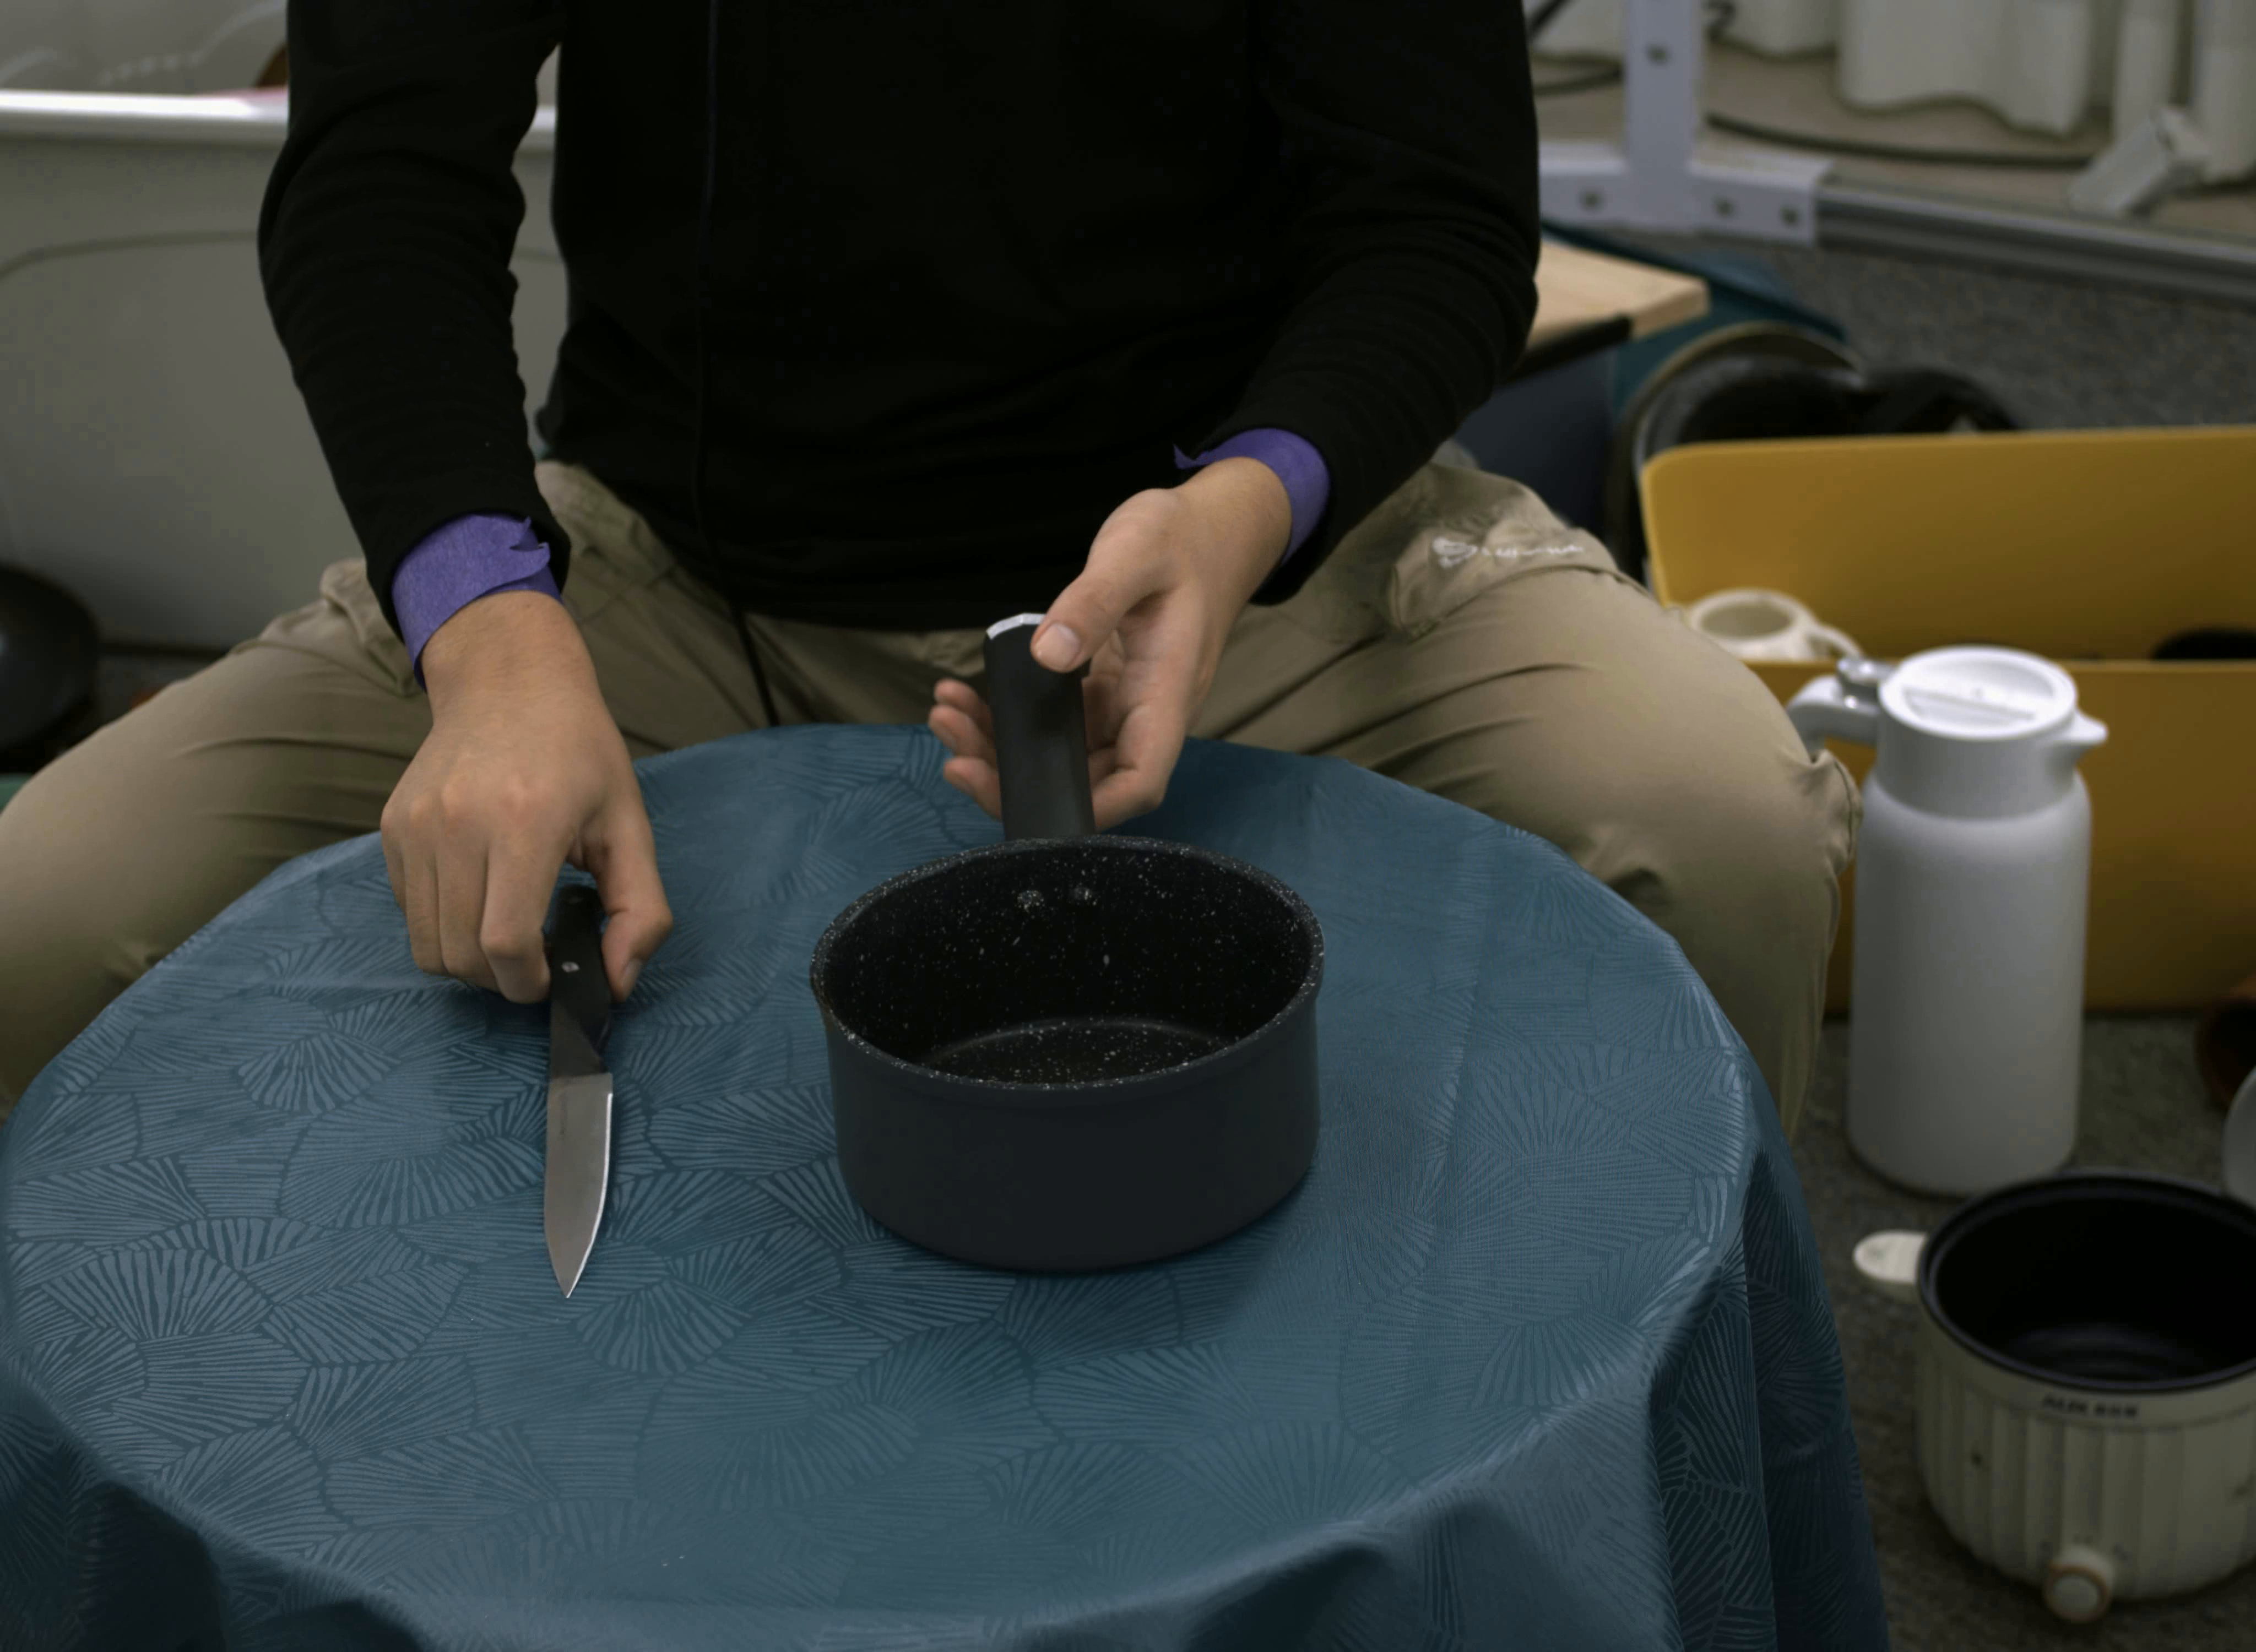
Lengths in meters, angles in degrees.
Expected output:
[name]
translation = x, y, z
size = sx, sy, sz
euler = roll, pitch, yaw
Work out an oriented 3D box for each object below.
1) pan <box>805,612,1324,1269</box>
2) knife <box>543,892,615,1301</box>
[pan]
translation = -0.020, 0.036, 1.937
size = 0.171, 0.085, 0.334
euler = -2, 28, 1
[knife]
translation = -0.188, 0.091, 1.918
size = 0.024, 0.016, 0.242
euler = -3, 32, -2
